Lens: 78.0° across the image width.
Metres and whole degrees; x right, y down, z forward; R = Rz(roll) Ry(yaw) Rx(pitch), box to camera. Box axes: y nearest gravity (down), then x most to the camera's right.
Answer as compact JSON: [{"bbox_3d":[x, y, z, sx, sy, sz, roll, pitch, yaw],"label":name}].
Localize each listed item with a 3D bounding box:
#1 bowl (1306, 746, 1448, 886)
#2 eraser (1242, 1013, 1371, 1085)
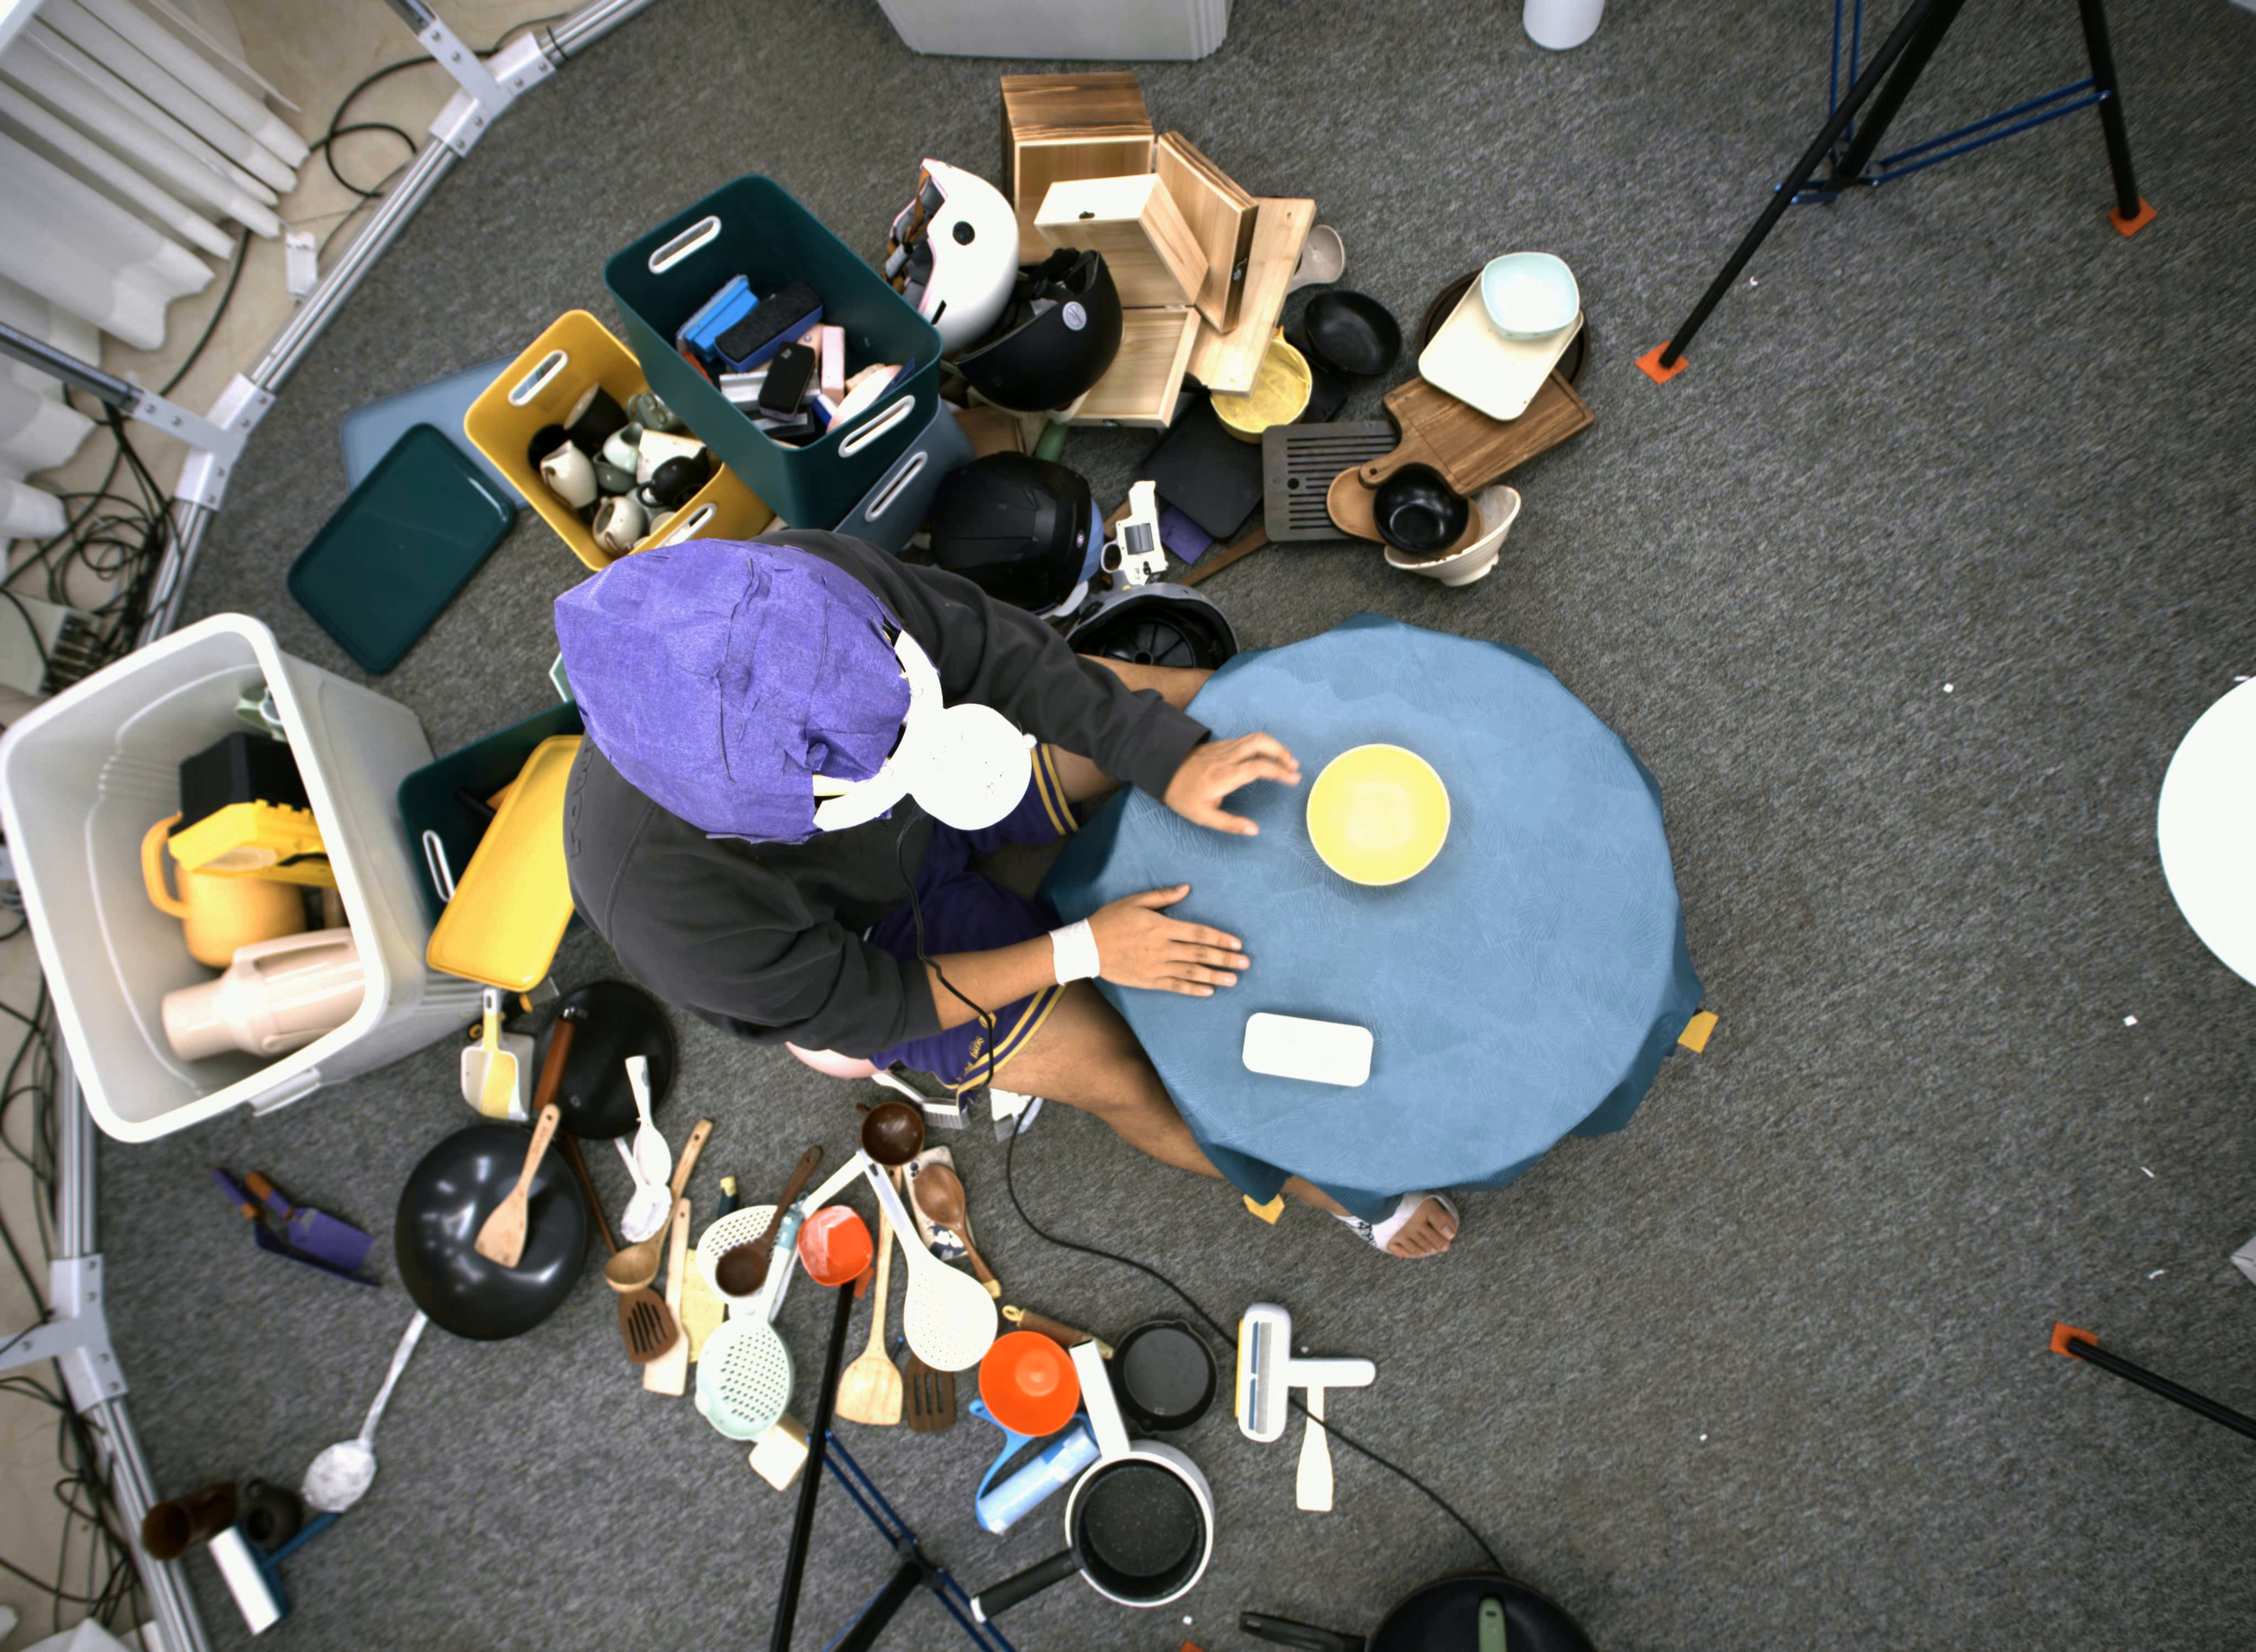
[{"bbox_3d":[0.259,-0.009,1.438,0.146,0.060,0.144,-1,85,12],"label":"bowl"},{"bbox_3d":[0.187,0.230,1.450,0.131,0.034,0.063,8,87,10],"label":"eraser"}]
